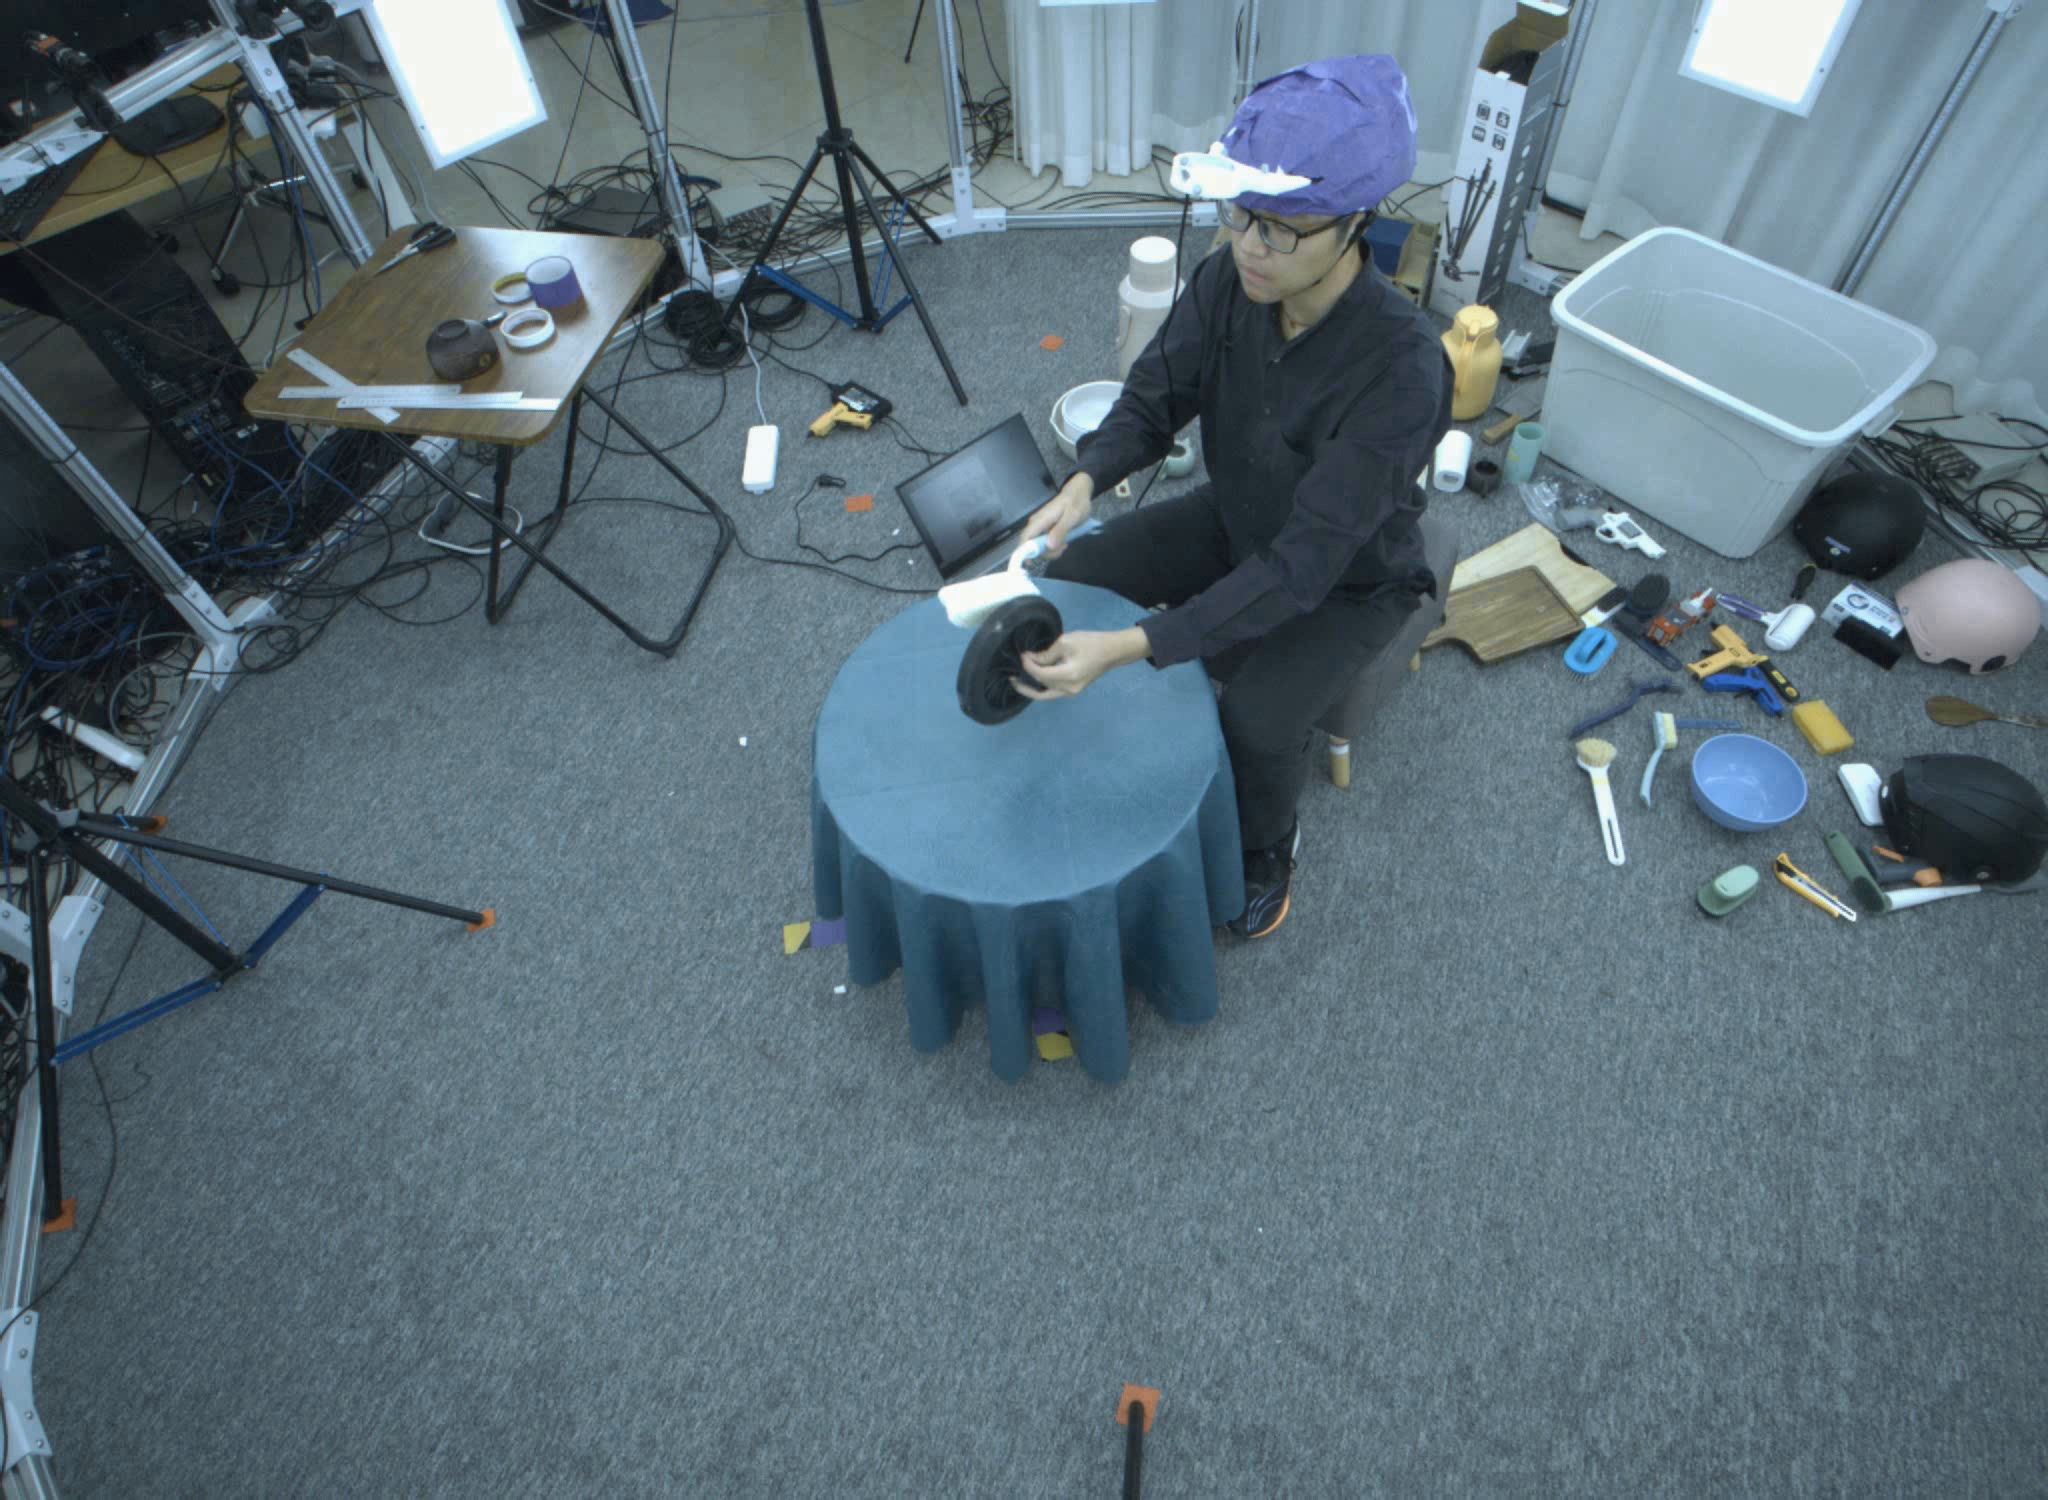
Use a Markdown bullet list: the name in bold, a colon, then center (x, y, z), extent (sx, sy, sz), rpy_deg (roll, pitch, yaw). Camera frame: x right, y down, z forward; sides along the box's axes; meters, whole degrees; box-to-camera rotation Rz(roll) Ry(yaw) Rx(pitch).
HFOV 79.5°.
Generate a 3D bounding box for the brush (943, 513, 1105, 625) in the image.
- **brush**: center (0.025, -0.242, 1.666), extent (0.081, 0.085, 0.329), rpy_deg (6, 28, 44)

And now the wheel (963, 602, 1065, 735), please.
- **wheel**: center (0.004, -0.098, 1.640), extent (0.077, 0.191, 0.190), rpy_deg (31, 89, 29)
